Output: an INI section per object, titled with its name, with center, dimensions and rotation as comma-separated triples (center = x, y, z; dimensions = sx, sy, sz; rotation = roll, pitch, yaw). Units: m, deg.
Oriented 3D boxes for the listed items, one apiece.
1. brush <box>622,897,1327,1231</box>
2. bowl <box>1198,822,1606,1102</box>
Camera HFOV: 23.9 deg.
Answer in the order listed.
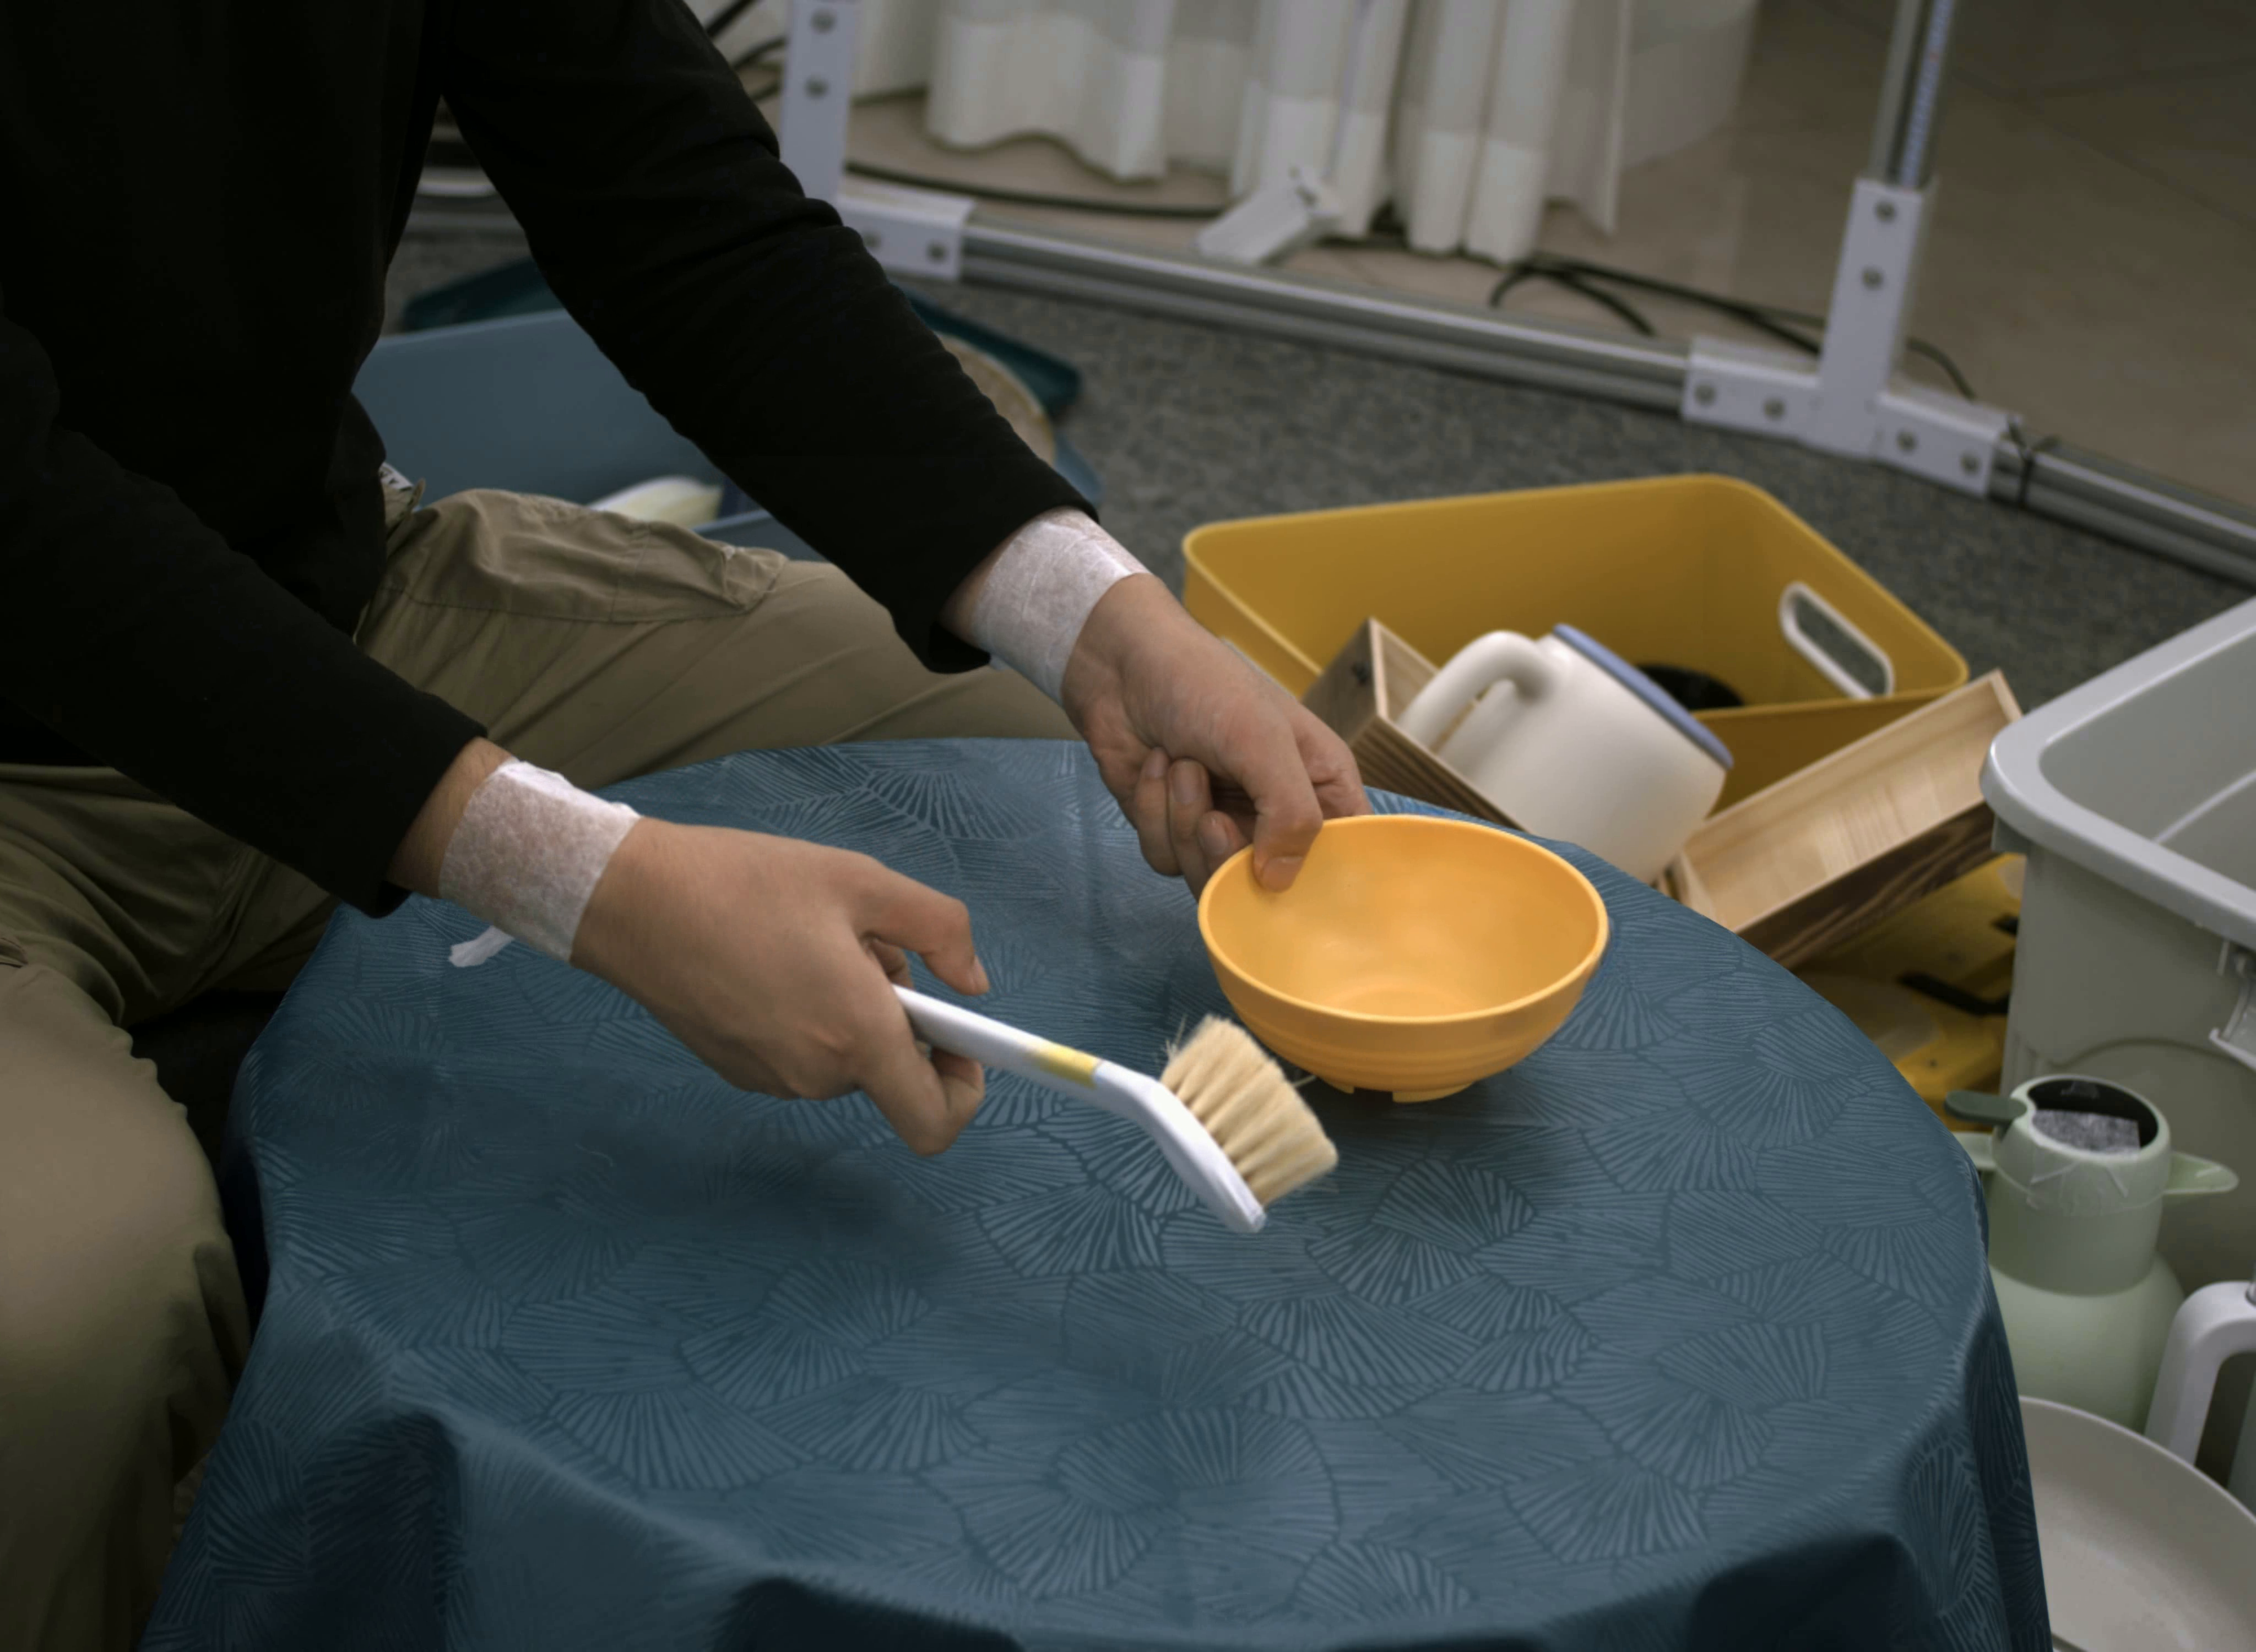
[brush]
center = -0.050, 0.057, 1.739
dimensions = 0.268, 0.068, 0.056
rotation = 23, 64, 30
[bowl]
center = 0.096, 0.057, 1.883
dimensions = 0.145, 0.060, 0.146
rotation = 0, 28, -1
